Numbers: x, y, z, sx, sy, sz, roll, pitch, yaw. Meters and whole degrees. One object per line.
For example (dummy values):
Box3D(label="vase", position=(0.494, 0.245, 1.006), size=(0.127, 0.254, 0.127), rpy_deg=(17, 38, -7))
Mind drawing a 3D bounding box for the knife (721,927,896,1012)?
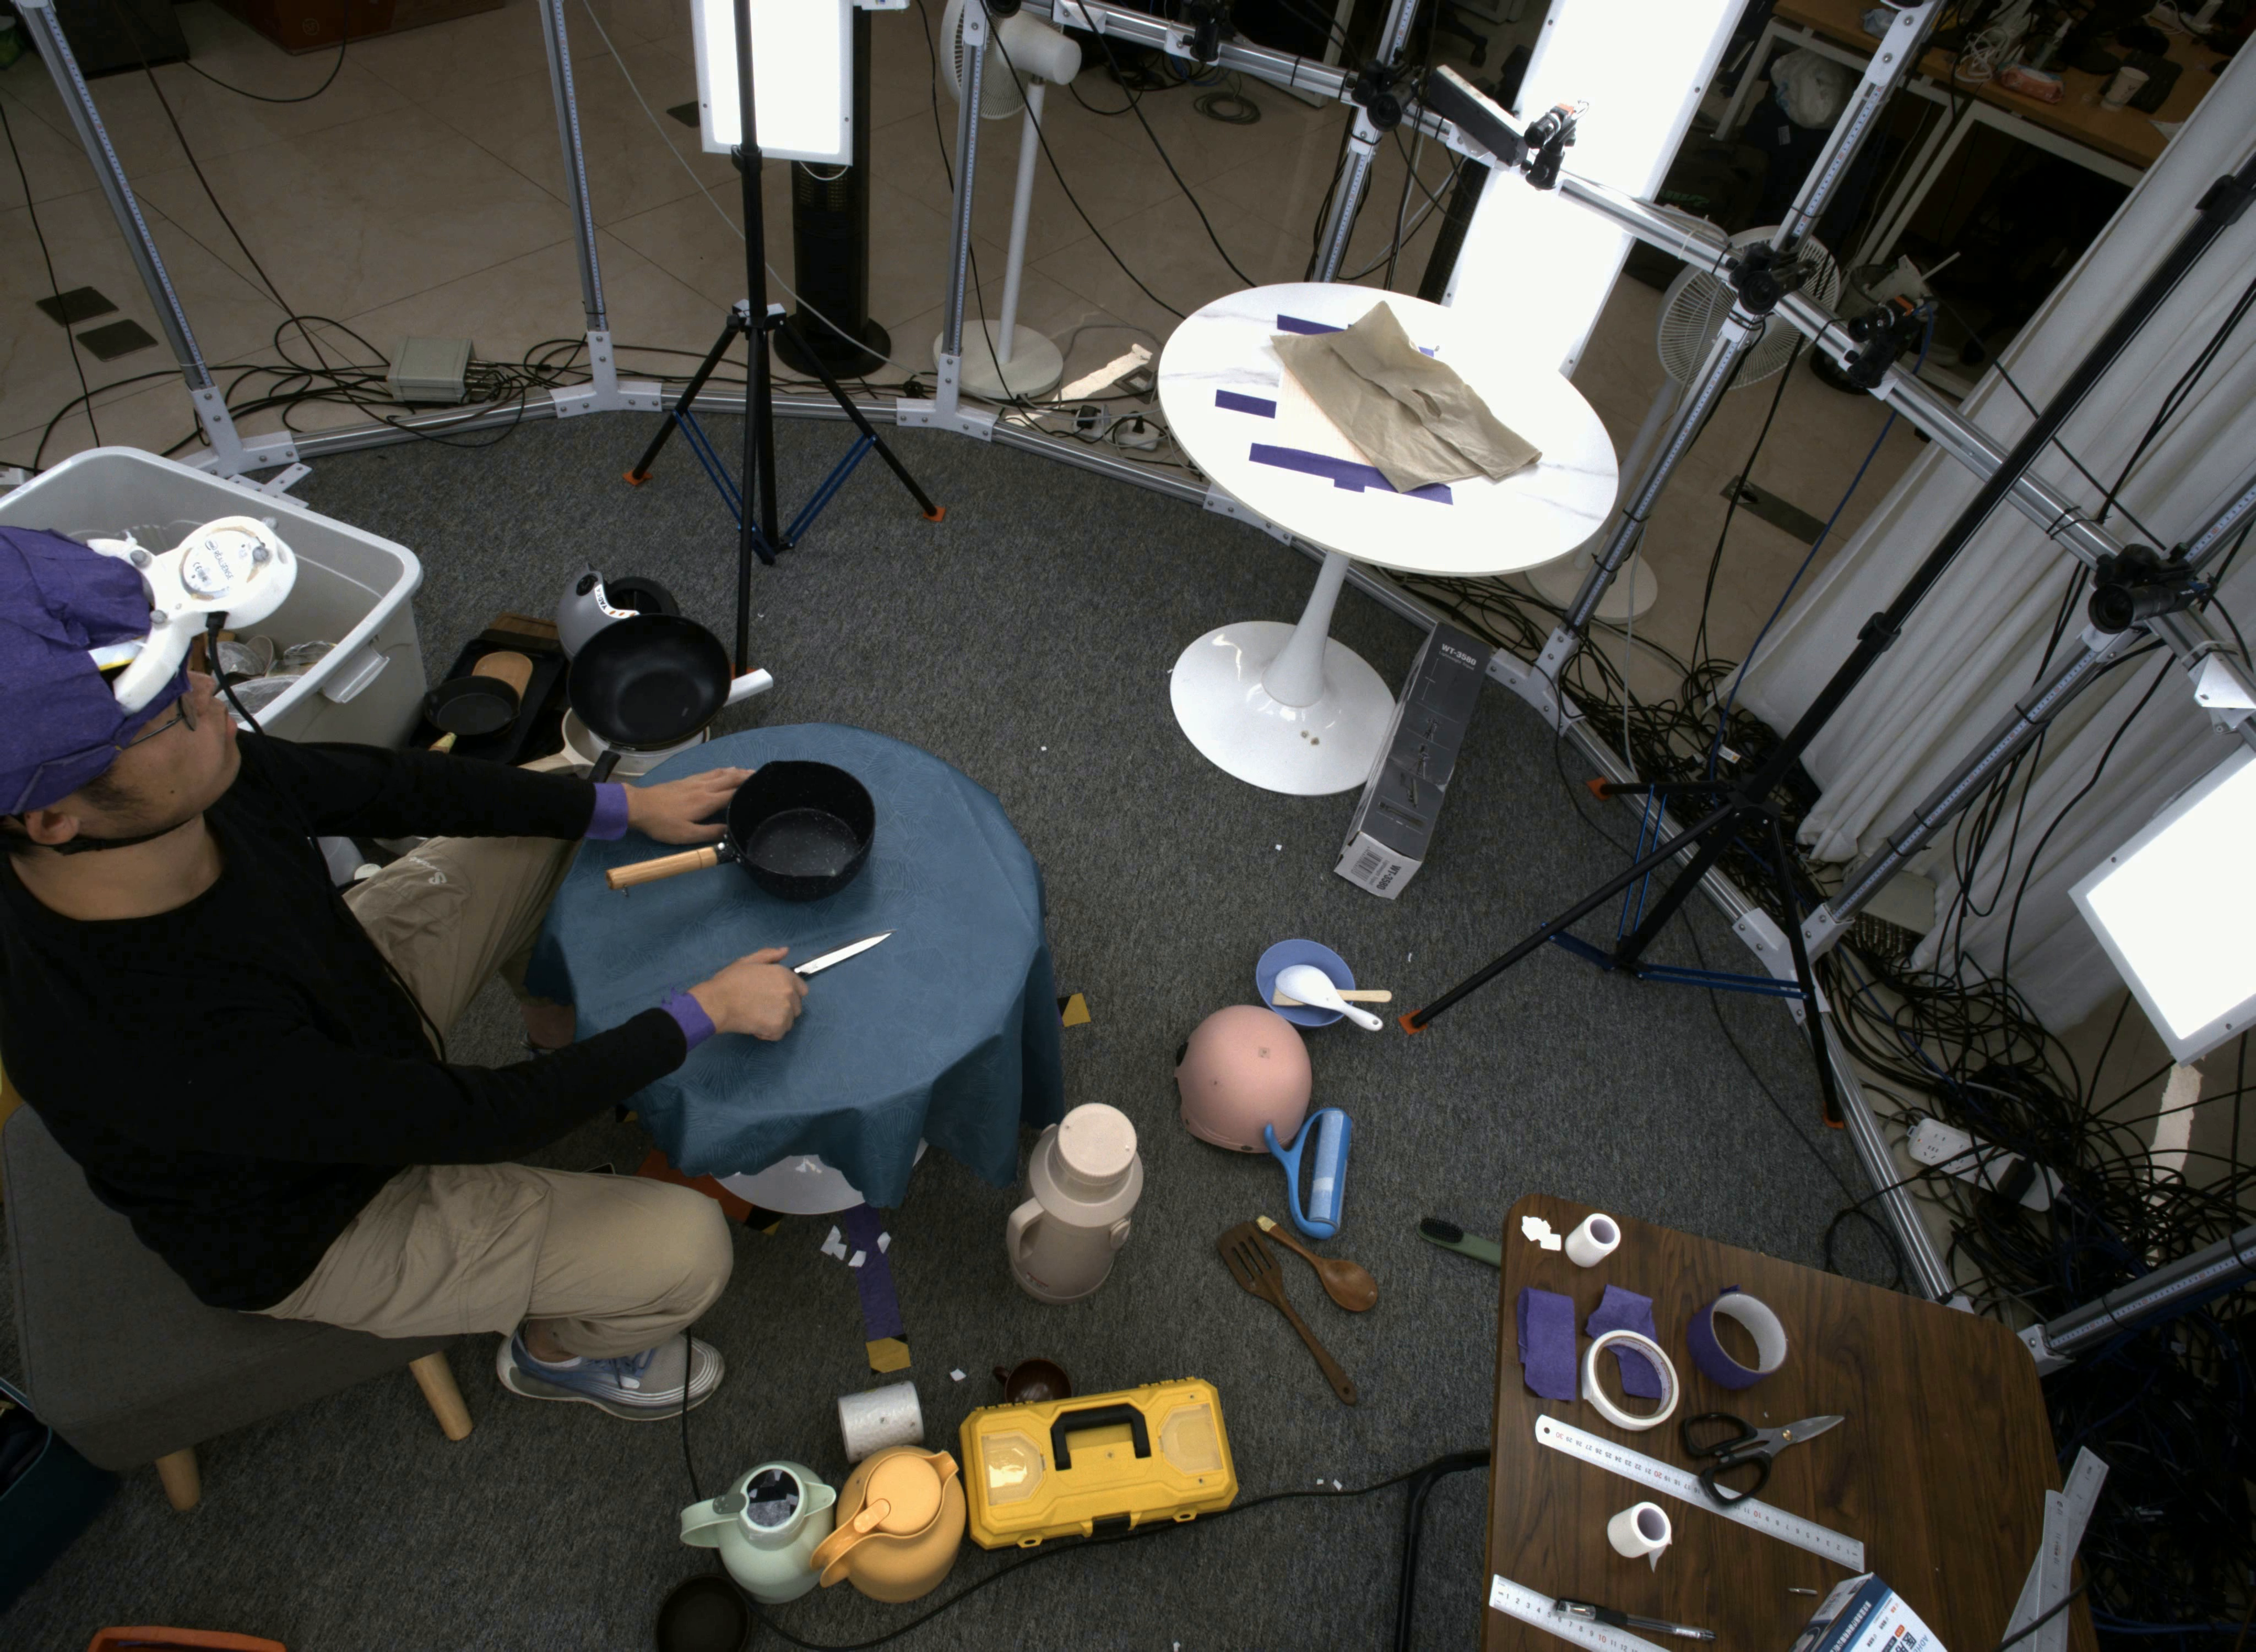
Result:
Box3D(label="knife", position=(-0.388, 0.172, 1.595), size=(0.239, 0.017, 0.024), rpy_deg=(-24, 57, -32))

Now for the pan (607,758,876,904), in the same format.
Box3D(label="pan", position=(-0.479, 0.033, 1.614), size=(0.344, 0.110, 0.202), rpy_deg=(-23, 62, -29))
